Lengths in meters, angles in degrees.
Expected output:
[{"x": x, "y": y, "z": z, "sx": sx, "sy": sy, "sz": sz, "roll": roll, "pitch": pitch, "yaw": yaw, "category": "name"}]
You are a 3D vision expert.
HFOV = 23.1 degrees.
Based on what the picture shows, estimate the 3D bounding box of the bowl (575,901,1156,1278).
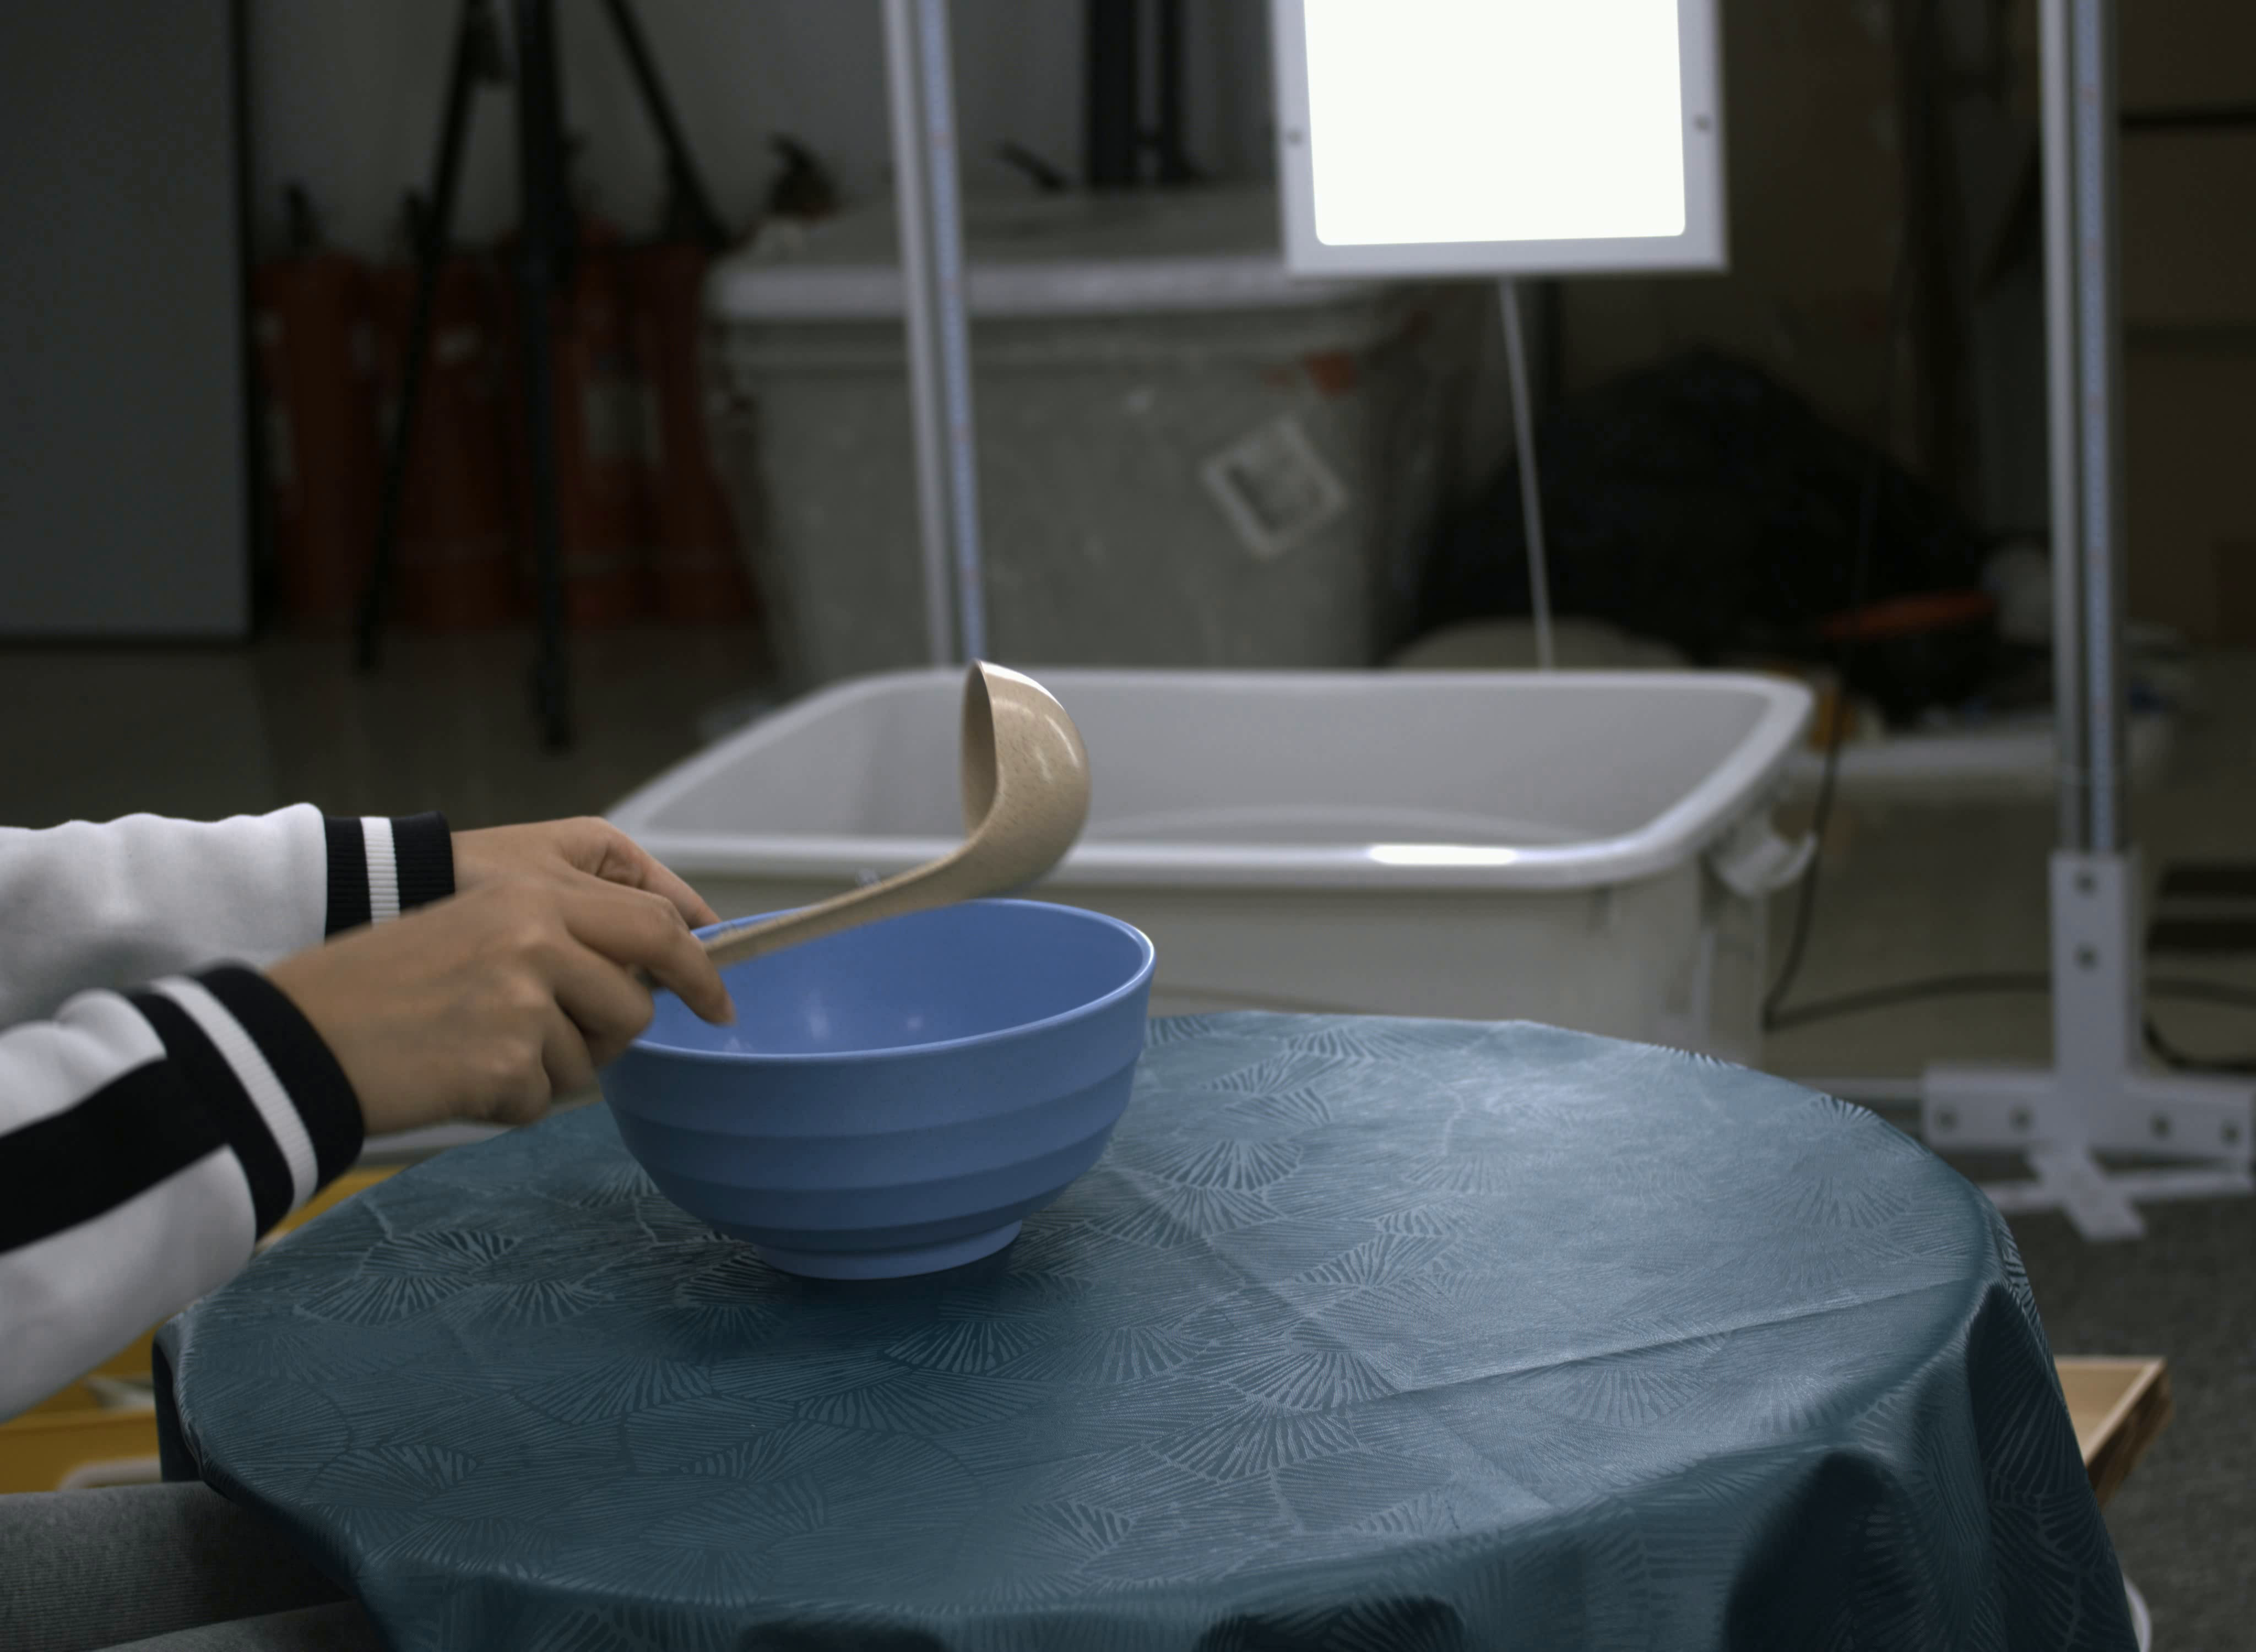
[{"x": -0.086, "y": 0.094, "z": 1.862, "sx": 0.196, "sy": 0.096, "sz": 0.196, "roll": -3, "pitch": 13, "yaw": -1, "category": "bowl"}]

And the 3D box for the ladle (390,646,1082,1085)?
[{"x": -0.127, "y": 0.011, "z": 1.653, "sx": 0.249, "sy": 0.073, "sz": 0.073, "roll": -20, "pitch": 53, "yaw": -28, "category": "ladle"}]
